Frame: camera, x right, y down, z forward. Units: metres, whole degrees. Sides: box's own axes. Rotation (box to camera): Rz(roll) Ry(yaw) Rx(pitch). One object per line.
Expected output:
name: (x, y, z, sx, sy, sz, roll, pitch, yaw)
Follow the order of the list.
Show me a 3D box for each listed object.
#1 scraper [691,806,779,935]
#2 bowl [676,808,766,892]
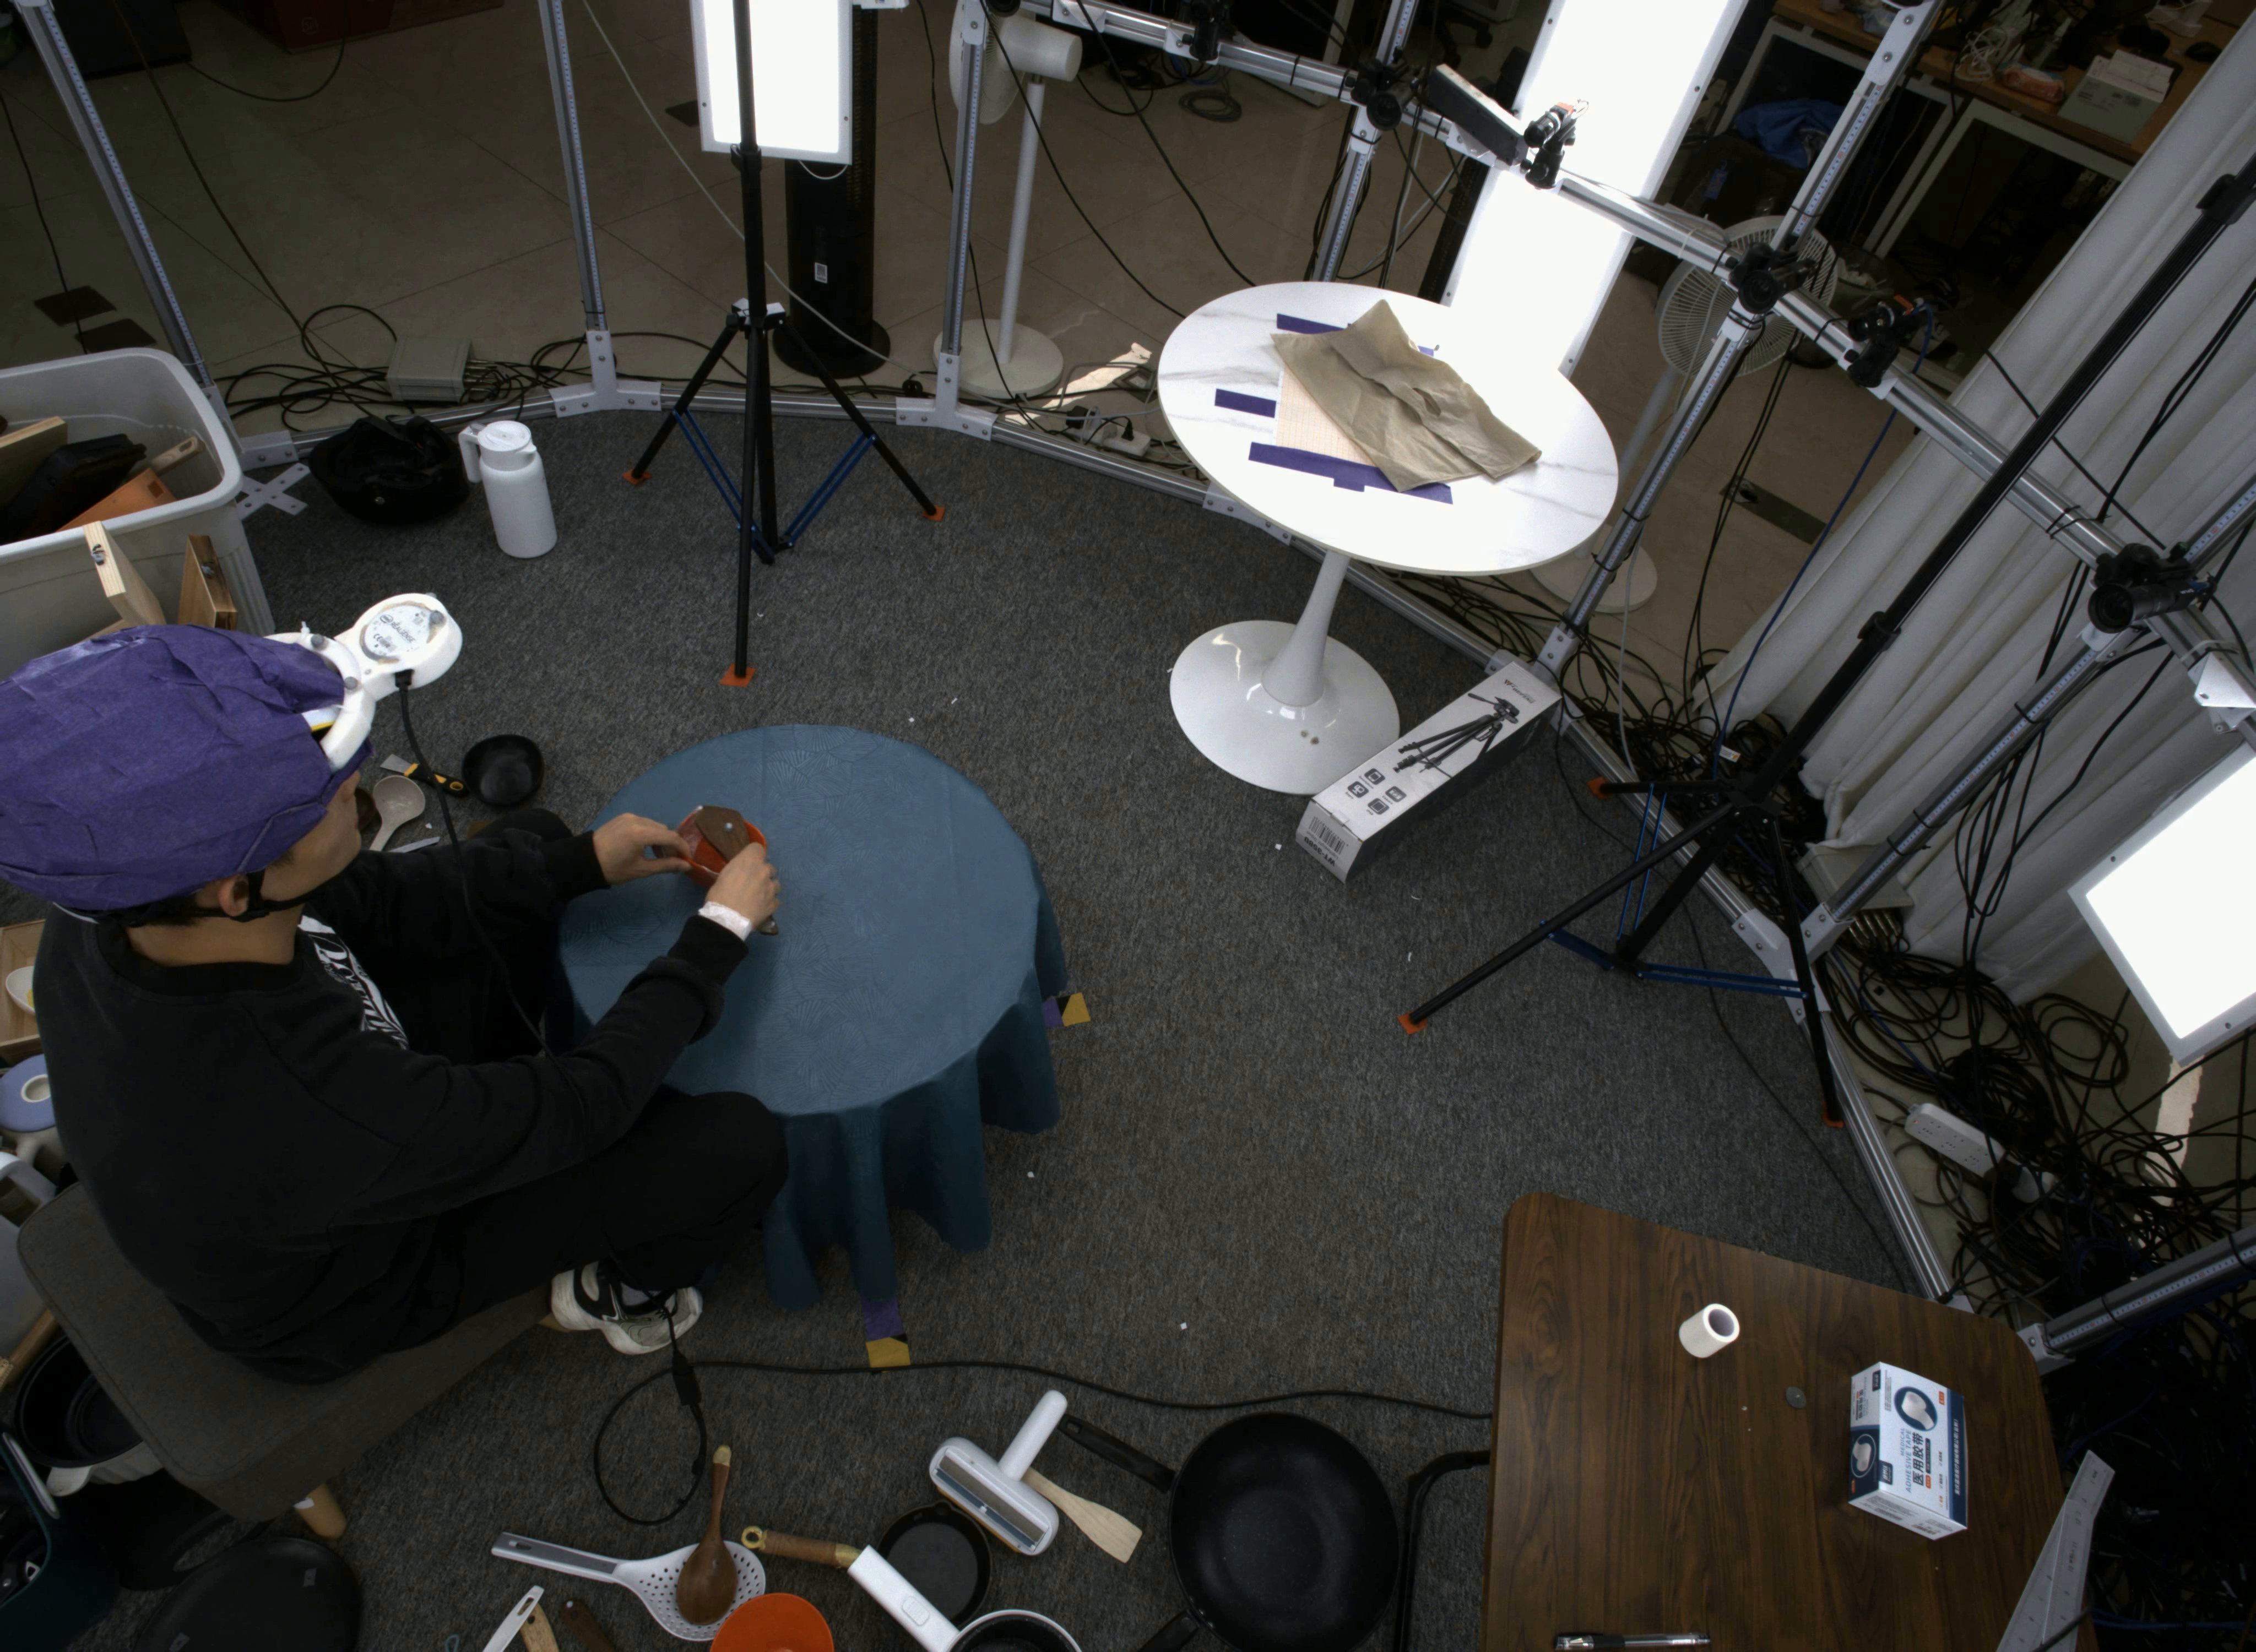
scraper: (-0.472, 0.052, 1.578, 0.078, 0.011, 0.205, 9, 39, -51)
bowl: (-0.520, 0.037, 1.631, 0.121, 0.051, 0.116, 25, 38, -19)
